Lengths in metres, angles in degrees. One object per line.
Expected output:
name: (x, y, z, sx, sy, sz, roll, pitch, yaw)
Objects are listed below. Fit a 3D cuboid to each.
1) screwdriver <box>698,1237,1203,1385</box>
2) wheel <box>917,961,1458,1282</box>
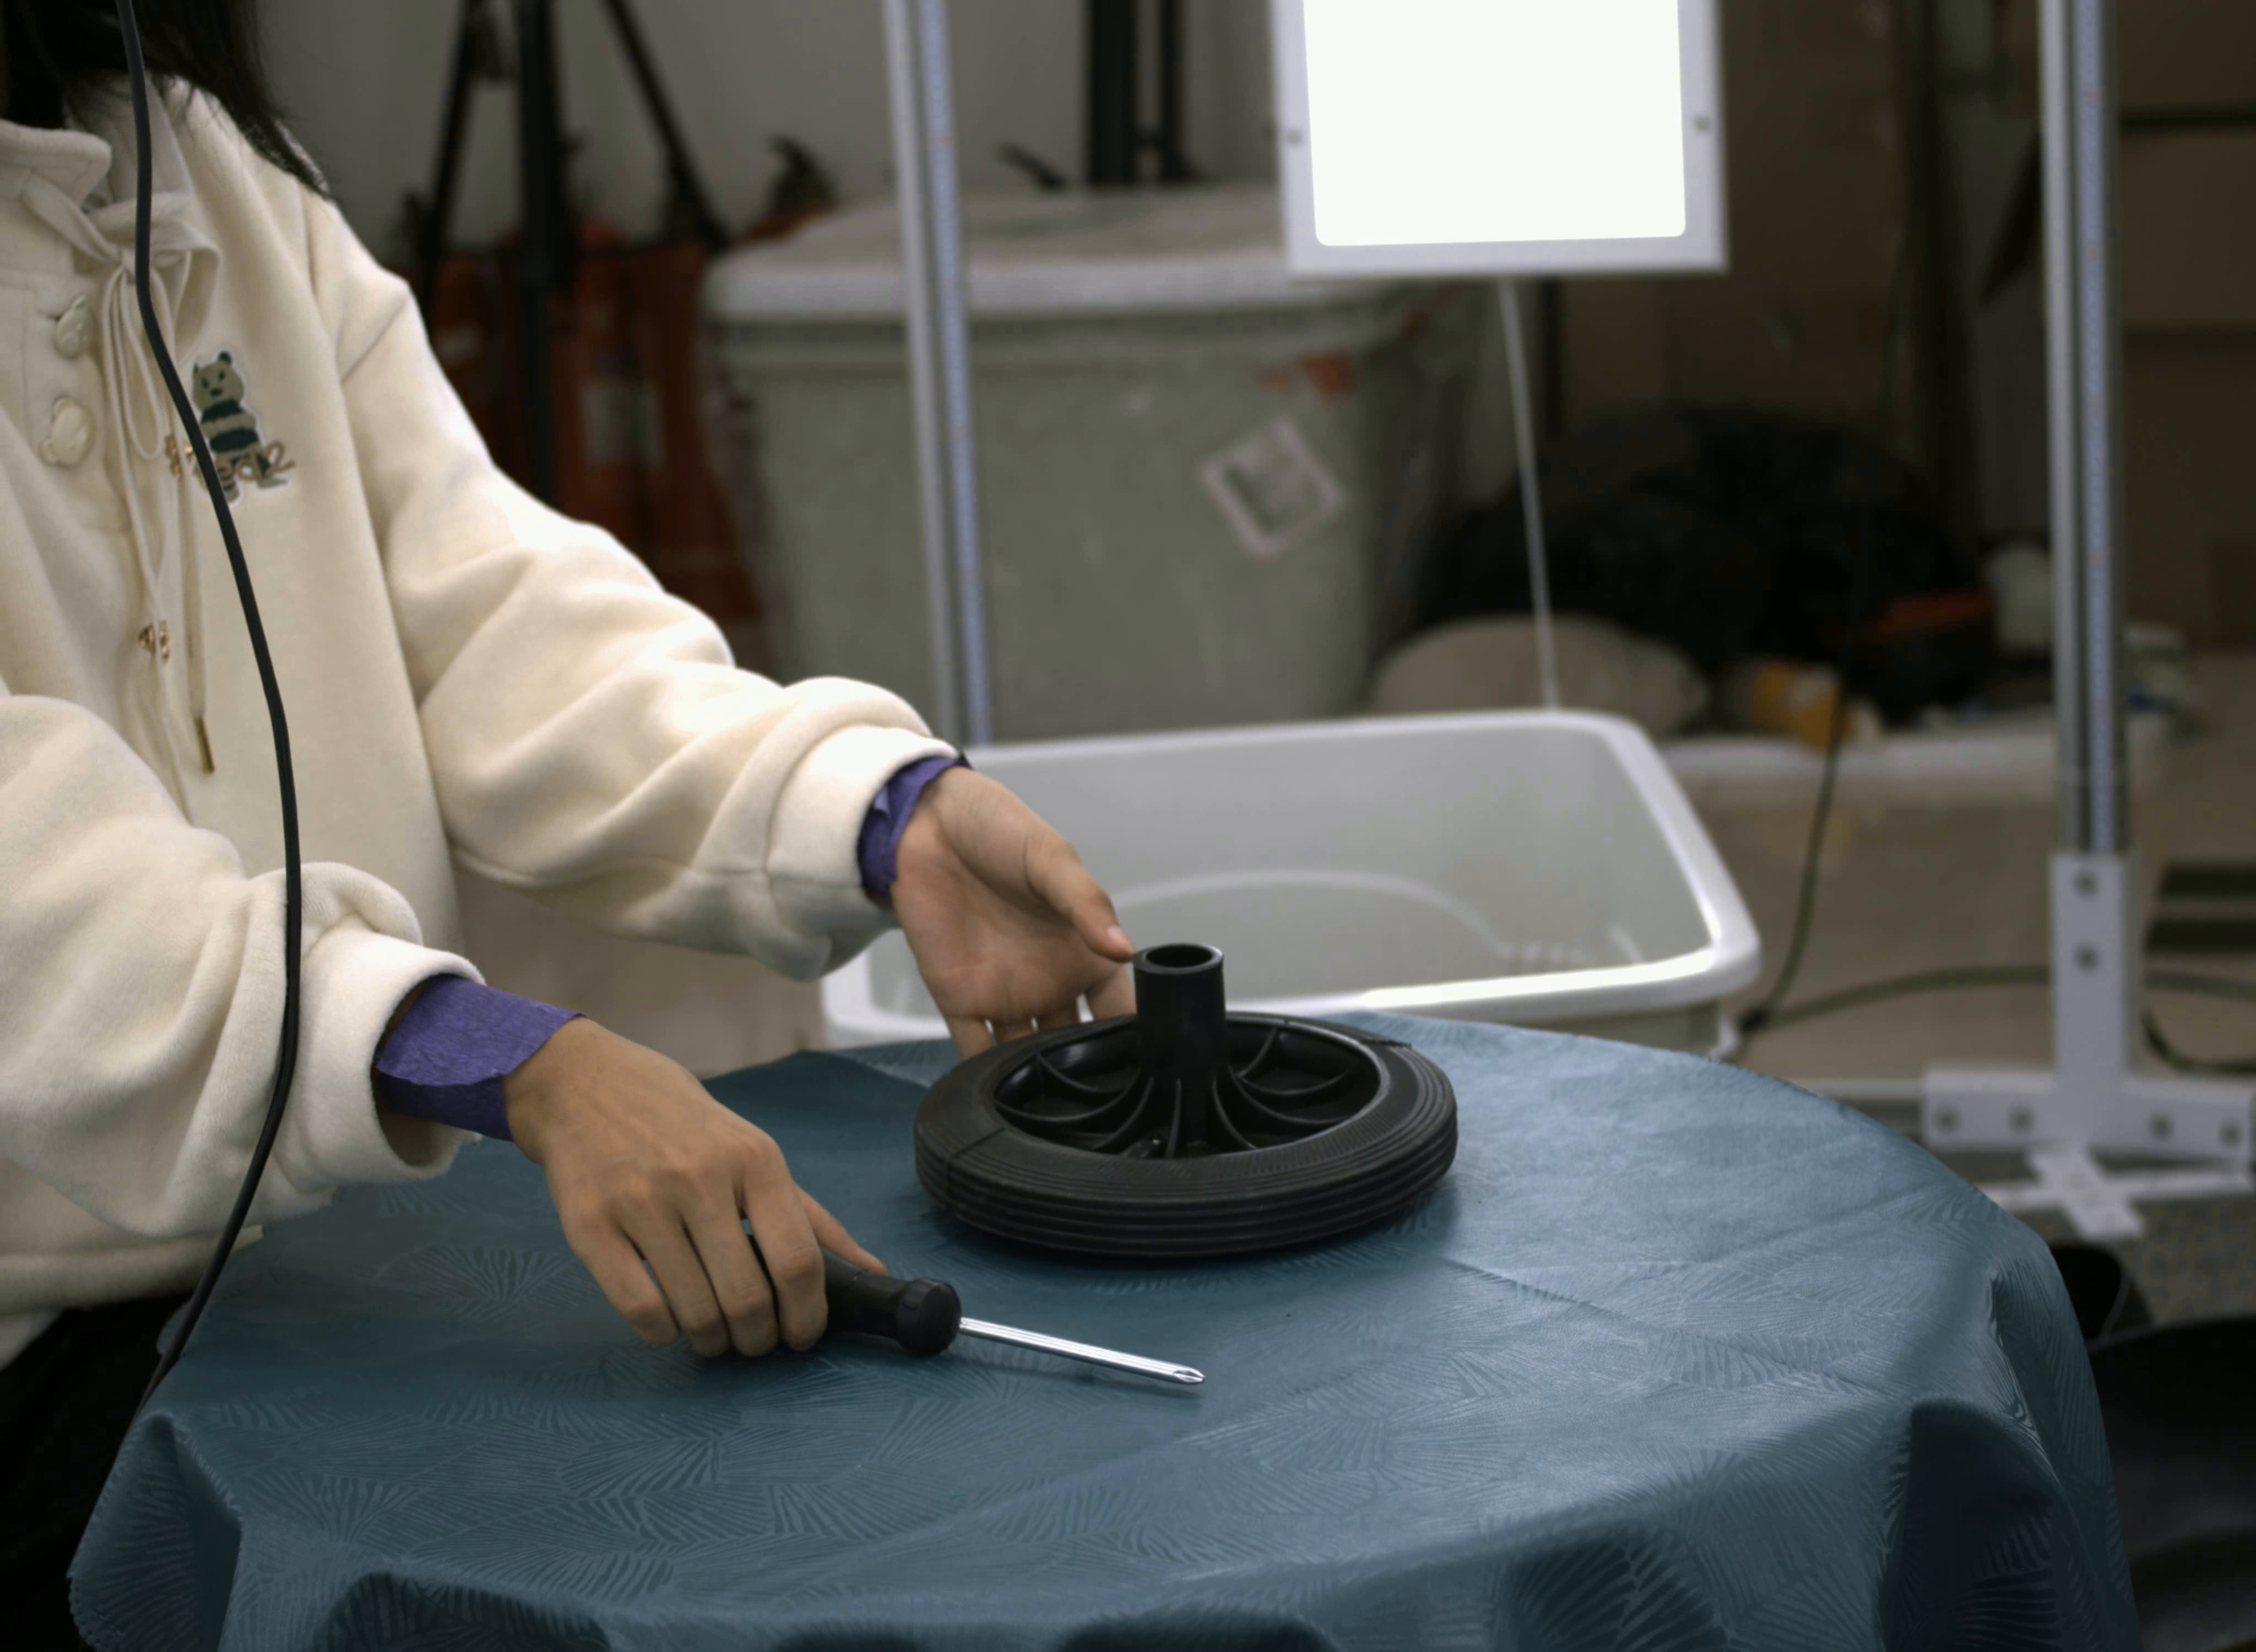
screwdriver: (-0.055, 0.155, 1.750, 0.200, 0.031, 0.031, 6, 17, 33)
wheel: (0.019, 0.089, 1.886, 0.188, 0.079, 0.188, -1, 21, 7)
